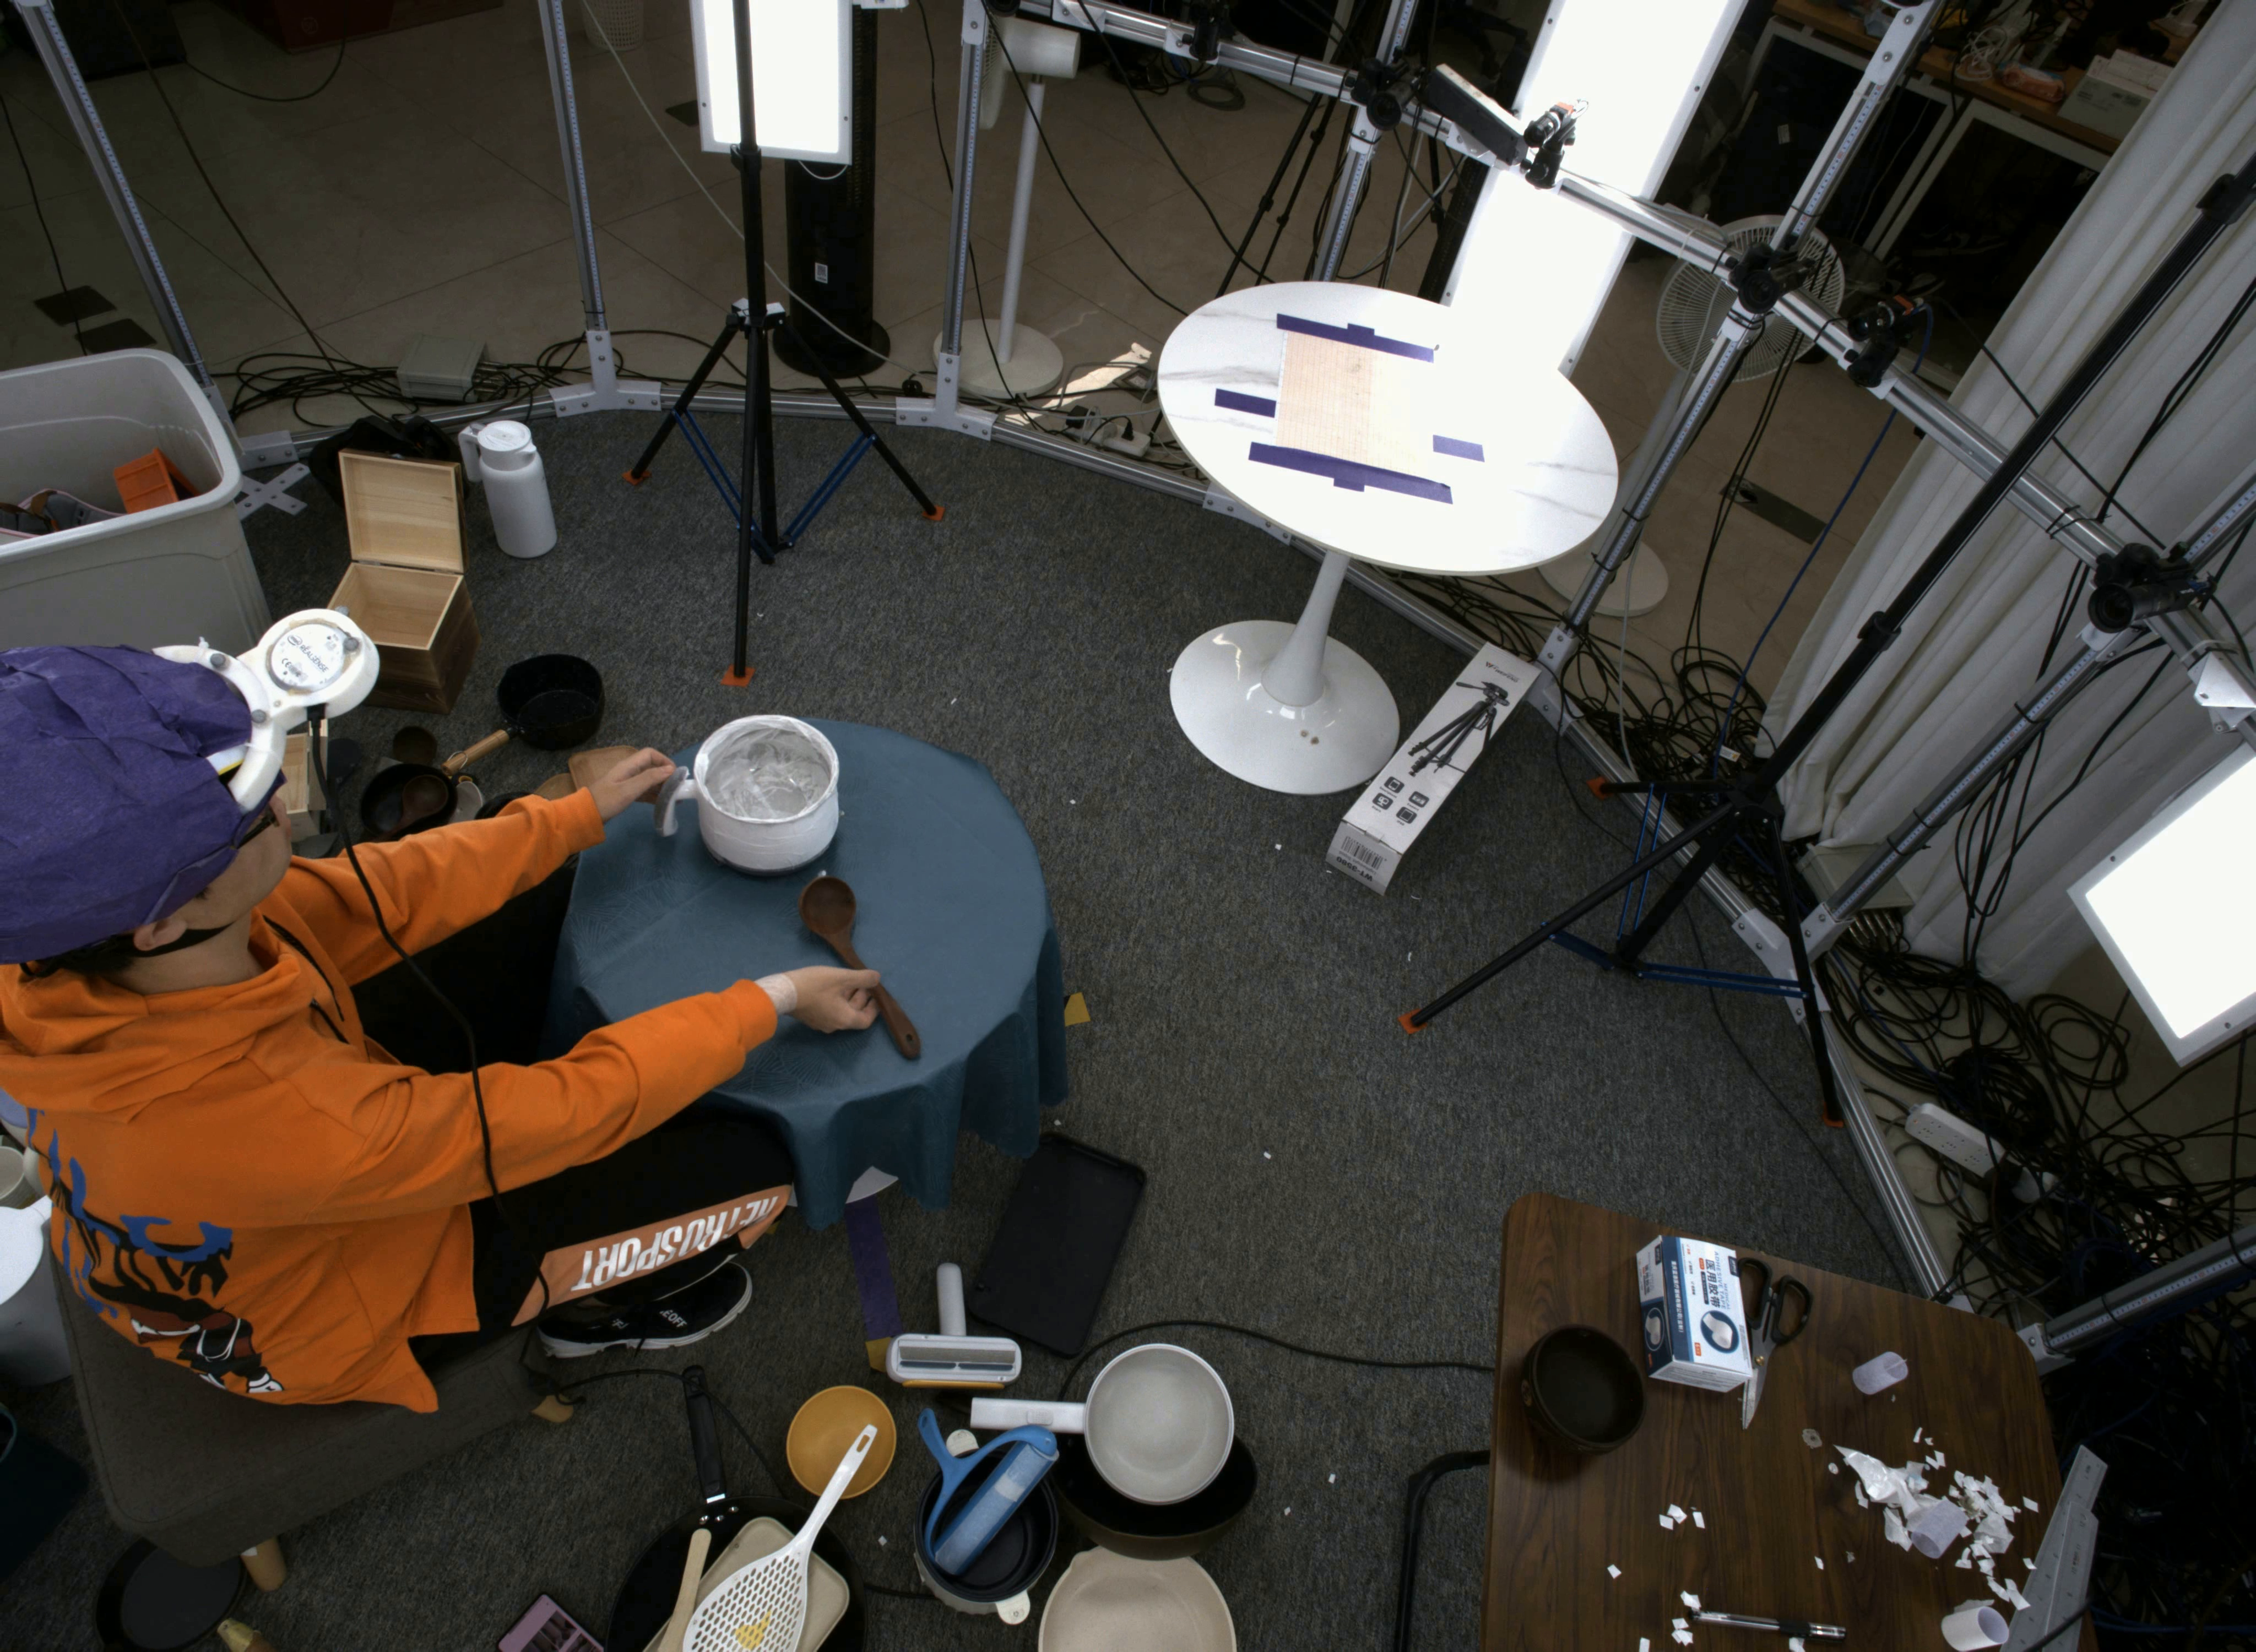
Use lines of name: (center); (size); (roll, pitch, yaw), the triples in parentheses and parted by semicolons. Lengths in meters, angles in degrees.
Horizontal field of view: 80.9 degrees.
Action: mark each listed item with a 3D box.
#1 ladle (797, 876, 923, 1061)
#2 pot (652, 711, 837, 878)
ladle: (-0.319, 0.167, 1.575); (0.077, 0.066, 0.254); (-25, 63, -30)
pot: (-0.485, -0.034, 1.634); (0.234, 0.139, 0.174); (-5, 54, -18)
